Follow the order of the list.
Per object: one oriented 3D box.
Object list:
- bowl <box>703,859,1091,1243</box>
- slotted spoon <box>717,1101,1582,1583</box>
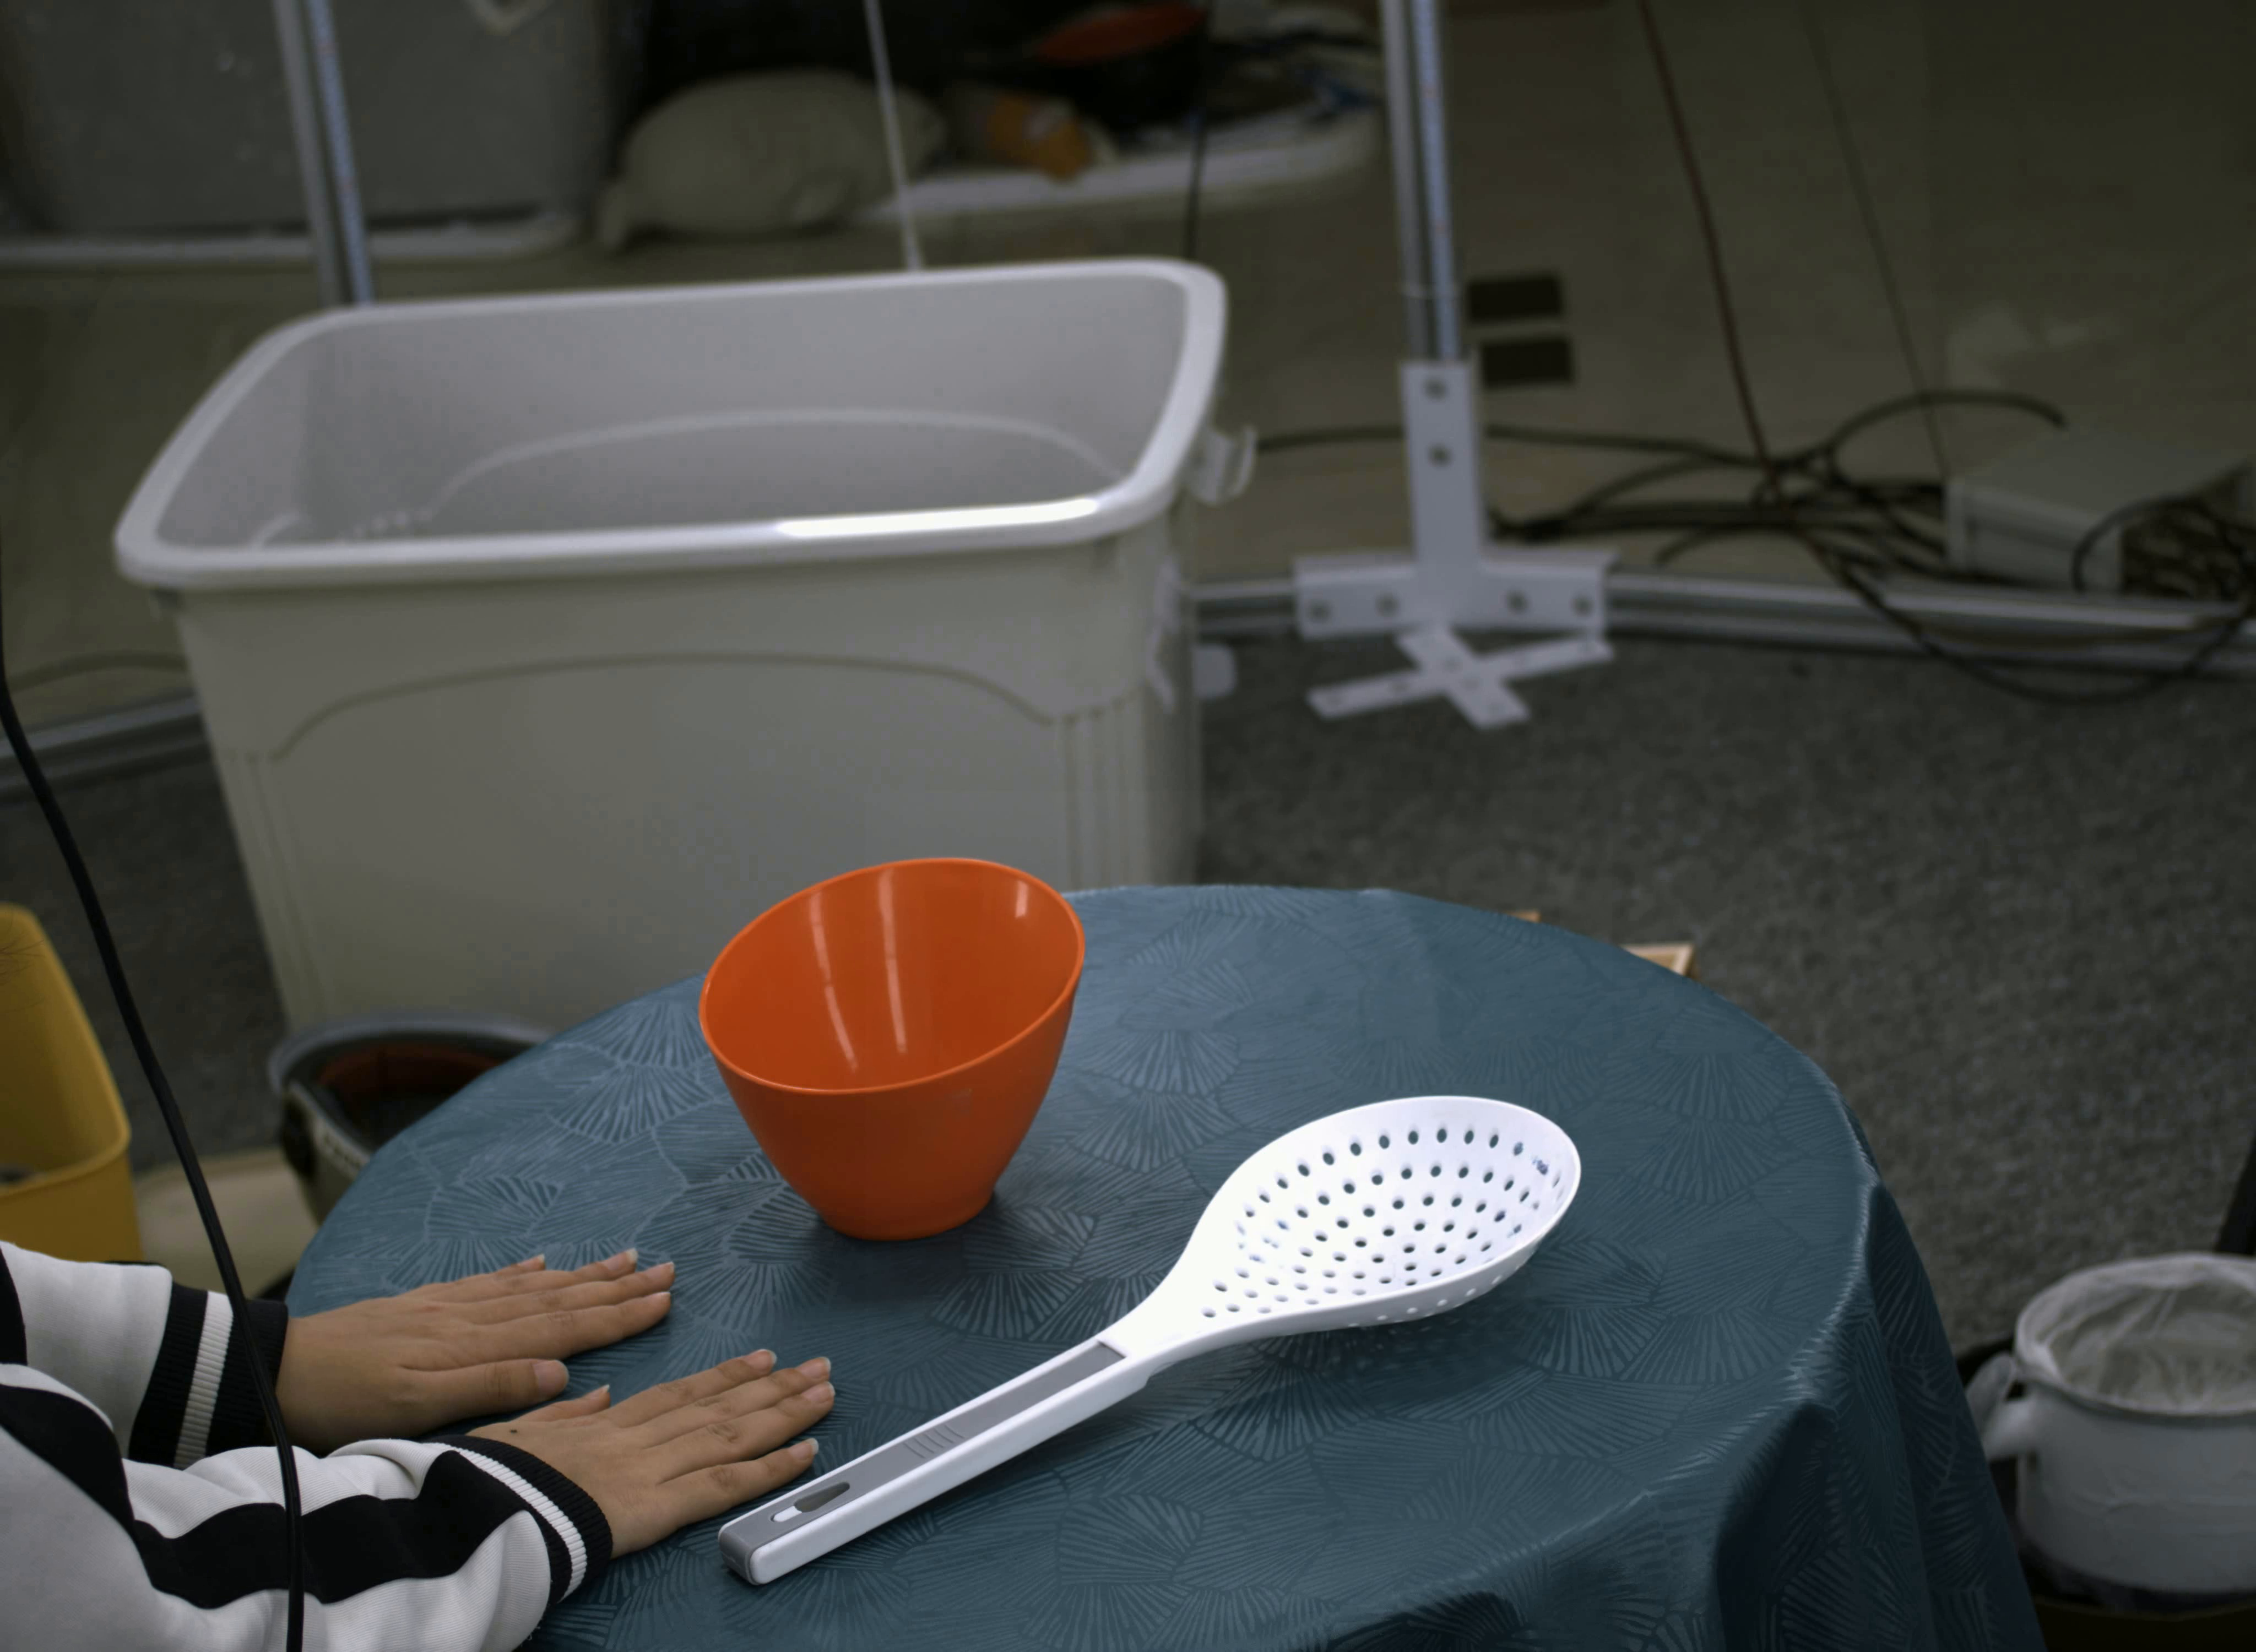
[{"bbox_3d":[-0.085,0.092,2.147,0.148,0.106,0.146,-3,27,2],"label":"bowl"},{"bbox_3d":[0.009,0.182,2.000,0.347,0.046,0.135,-21,27,-27],"label":"slotted spoon"}]
